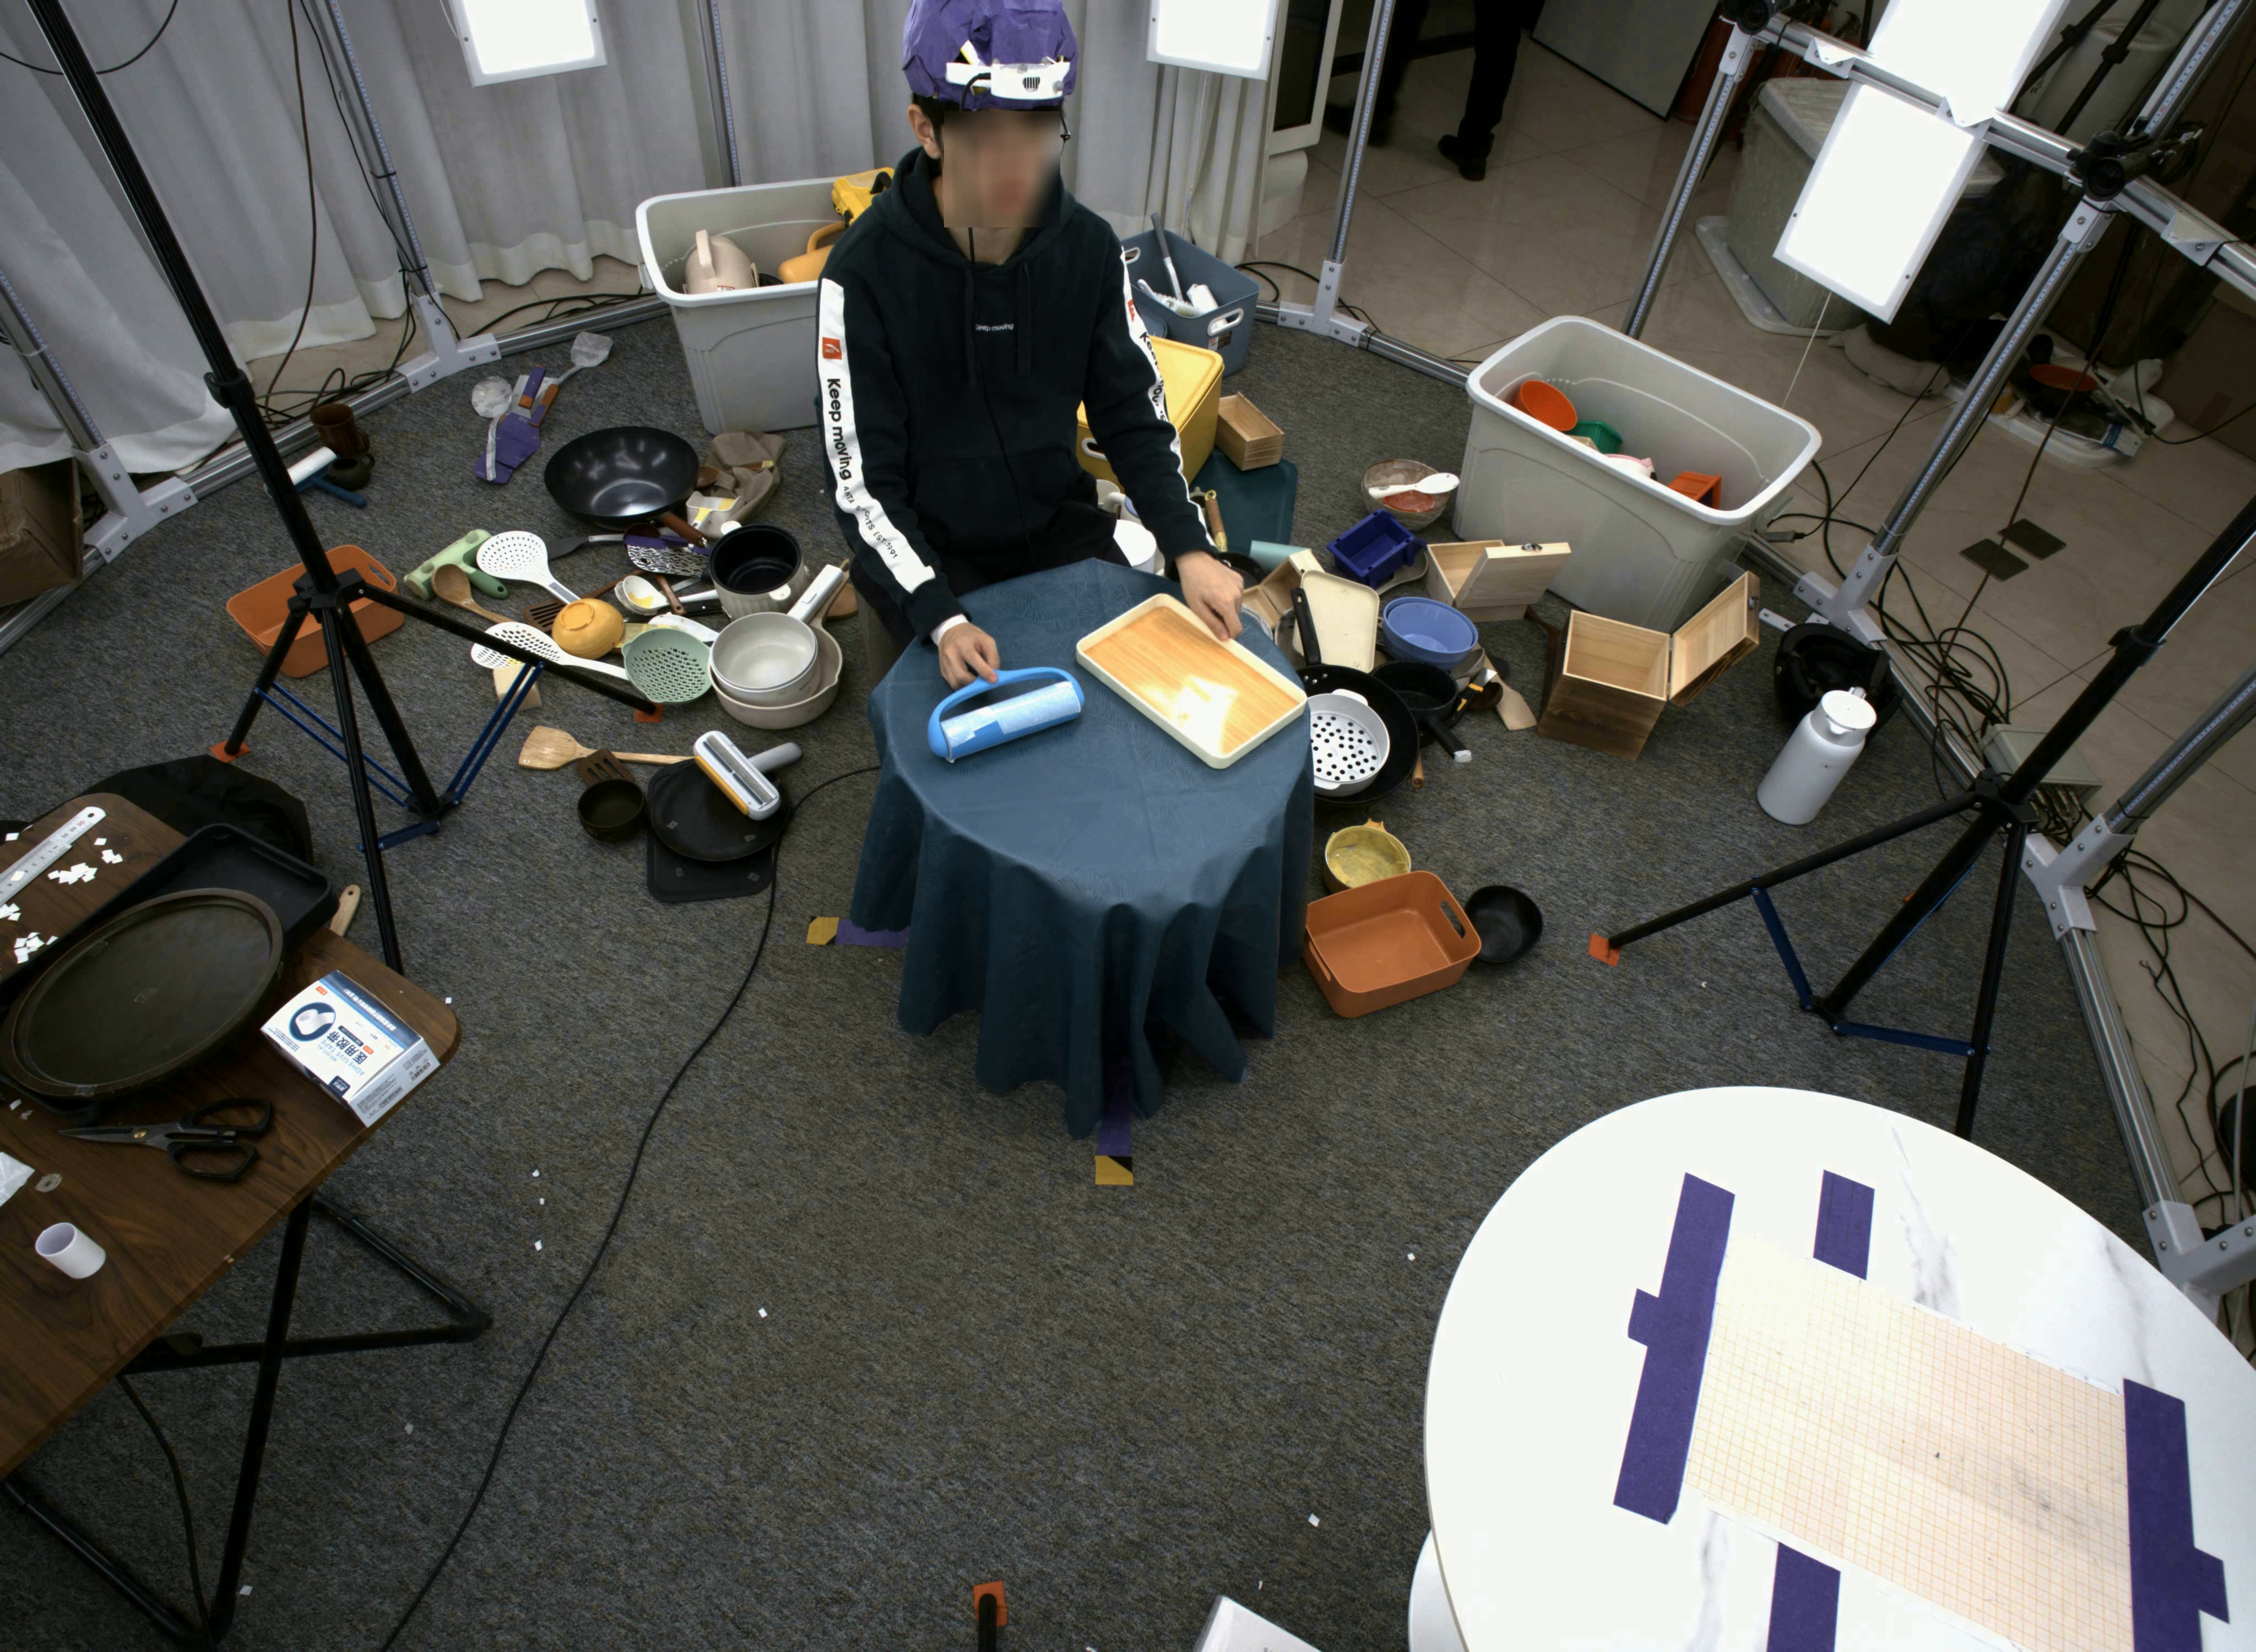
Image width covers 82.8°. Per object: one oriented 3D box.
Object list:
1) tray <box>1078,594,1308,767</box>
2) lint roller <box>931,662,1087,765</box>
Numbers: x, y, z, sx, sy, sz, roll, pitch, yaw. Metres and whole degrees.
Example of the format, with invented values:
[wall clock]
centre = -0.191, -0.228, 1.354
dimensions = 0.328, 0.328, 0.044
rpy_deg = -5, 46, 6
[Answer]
[tray]
centre = 0.090, -0.215, 1.843
dimensions = 0.193, 0.027, 0.305
rpy_deg = -34, 59, -28
[lint roller]
centre = -0.191, -0.182, 1.779
dimensions = 0.230, 0.066, 0.184
rpy_deg = -25, 56, -21
